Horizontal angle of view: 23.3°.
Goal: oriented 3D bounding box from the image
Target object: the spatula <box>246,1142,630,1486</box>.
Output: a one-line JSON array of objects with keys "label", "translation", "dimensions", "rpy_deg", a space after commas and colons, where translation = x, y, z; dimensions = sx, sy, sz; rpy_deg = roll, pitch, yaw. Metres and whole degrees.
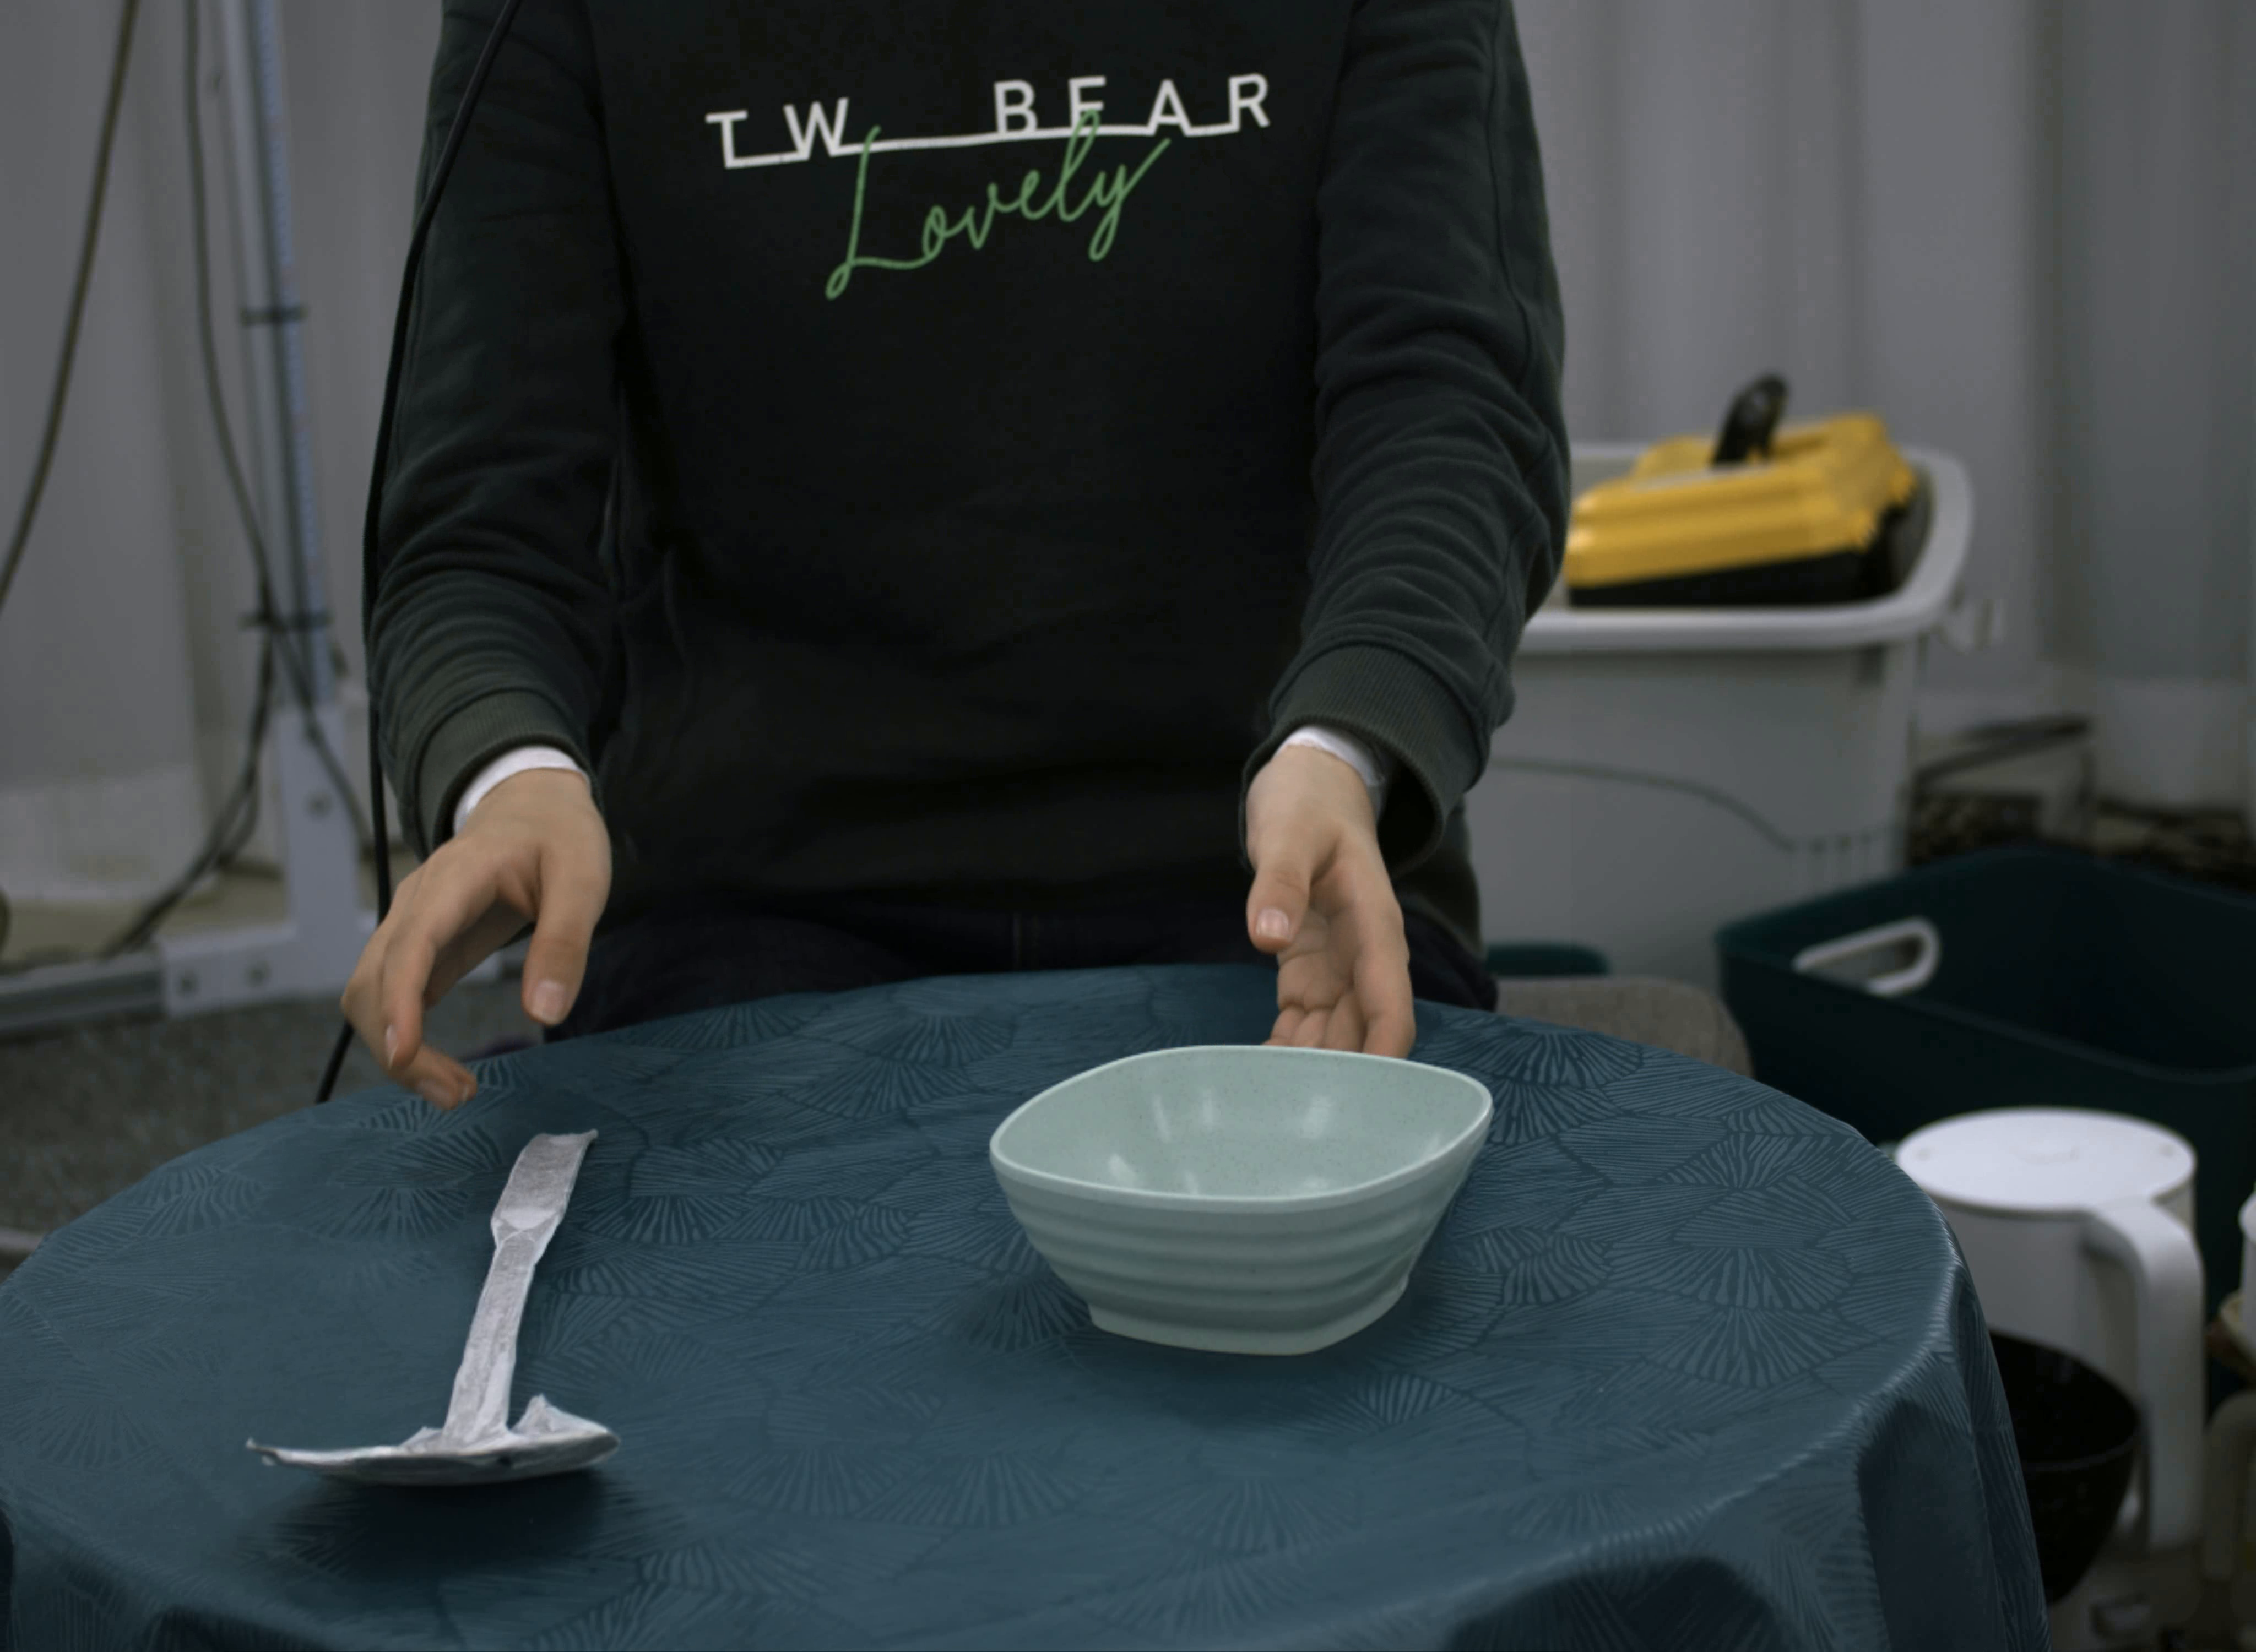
[{"label": "spatula", "translation": [-0.179, 0.134, 1.602], "dimensions": [0.098, 0.044, 0.367], "rpy_deg": [-4, 15, 2]}]

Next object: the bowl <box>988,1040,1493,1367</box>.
[{"label": "bowl", "translation": [0.034, 0.114, 1.606], "dimensions": [0.151, 0.058, 0.152], "rpy_deg": [-2, 17, 0]}]
